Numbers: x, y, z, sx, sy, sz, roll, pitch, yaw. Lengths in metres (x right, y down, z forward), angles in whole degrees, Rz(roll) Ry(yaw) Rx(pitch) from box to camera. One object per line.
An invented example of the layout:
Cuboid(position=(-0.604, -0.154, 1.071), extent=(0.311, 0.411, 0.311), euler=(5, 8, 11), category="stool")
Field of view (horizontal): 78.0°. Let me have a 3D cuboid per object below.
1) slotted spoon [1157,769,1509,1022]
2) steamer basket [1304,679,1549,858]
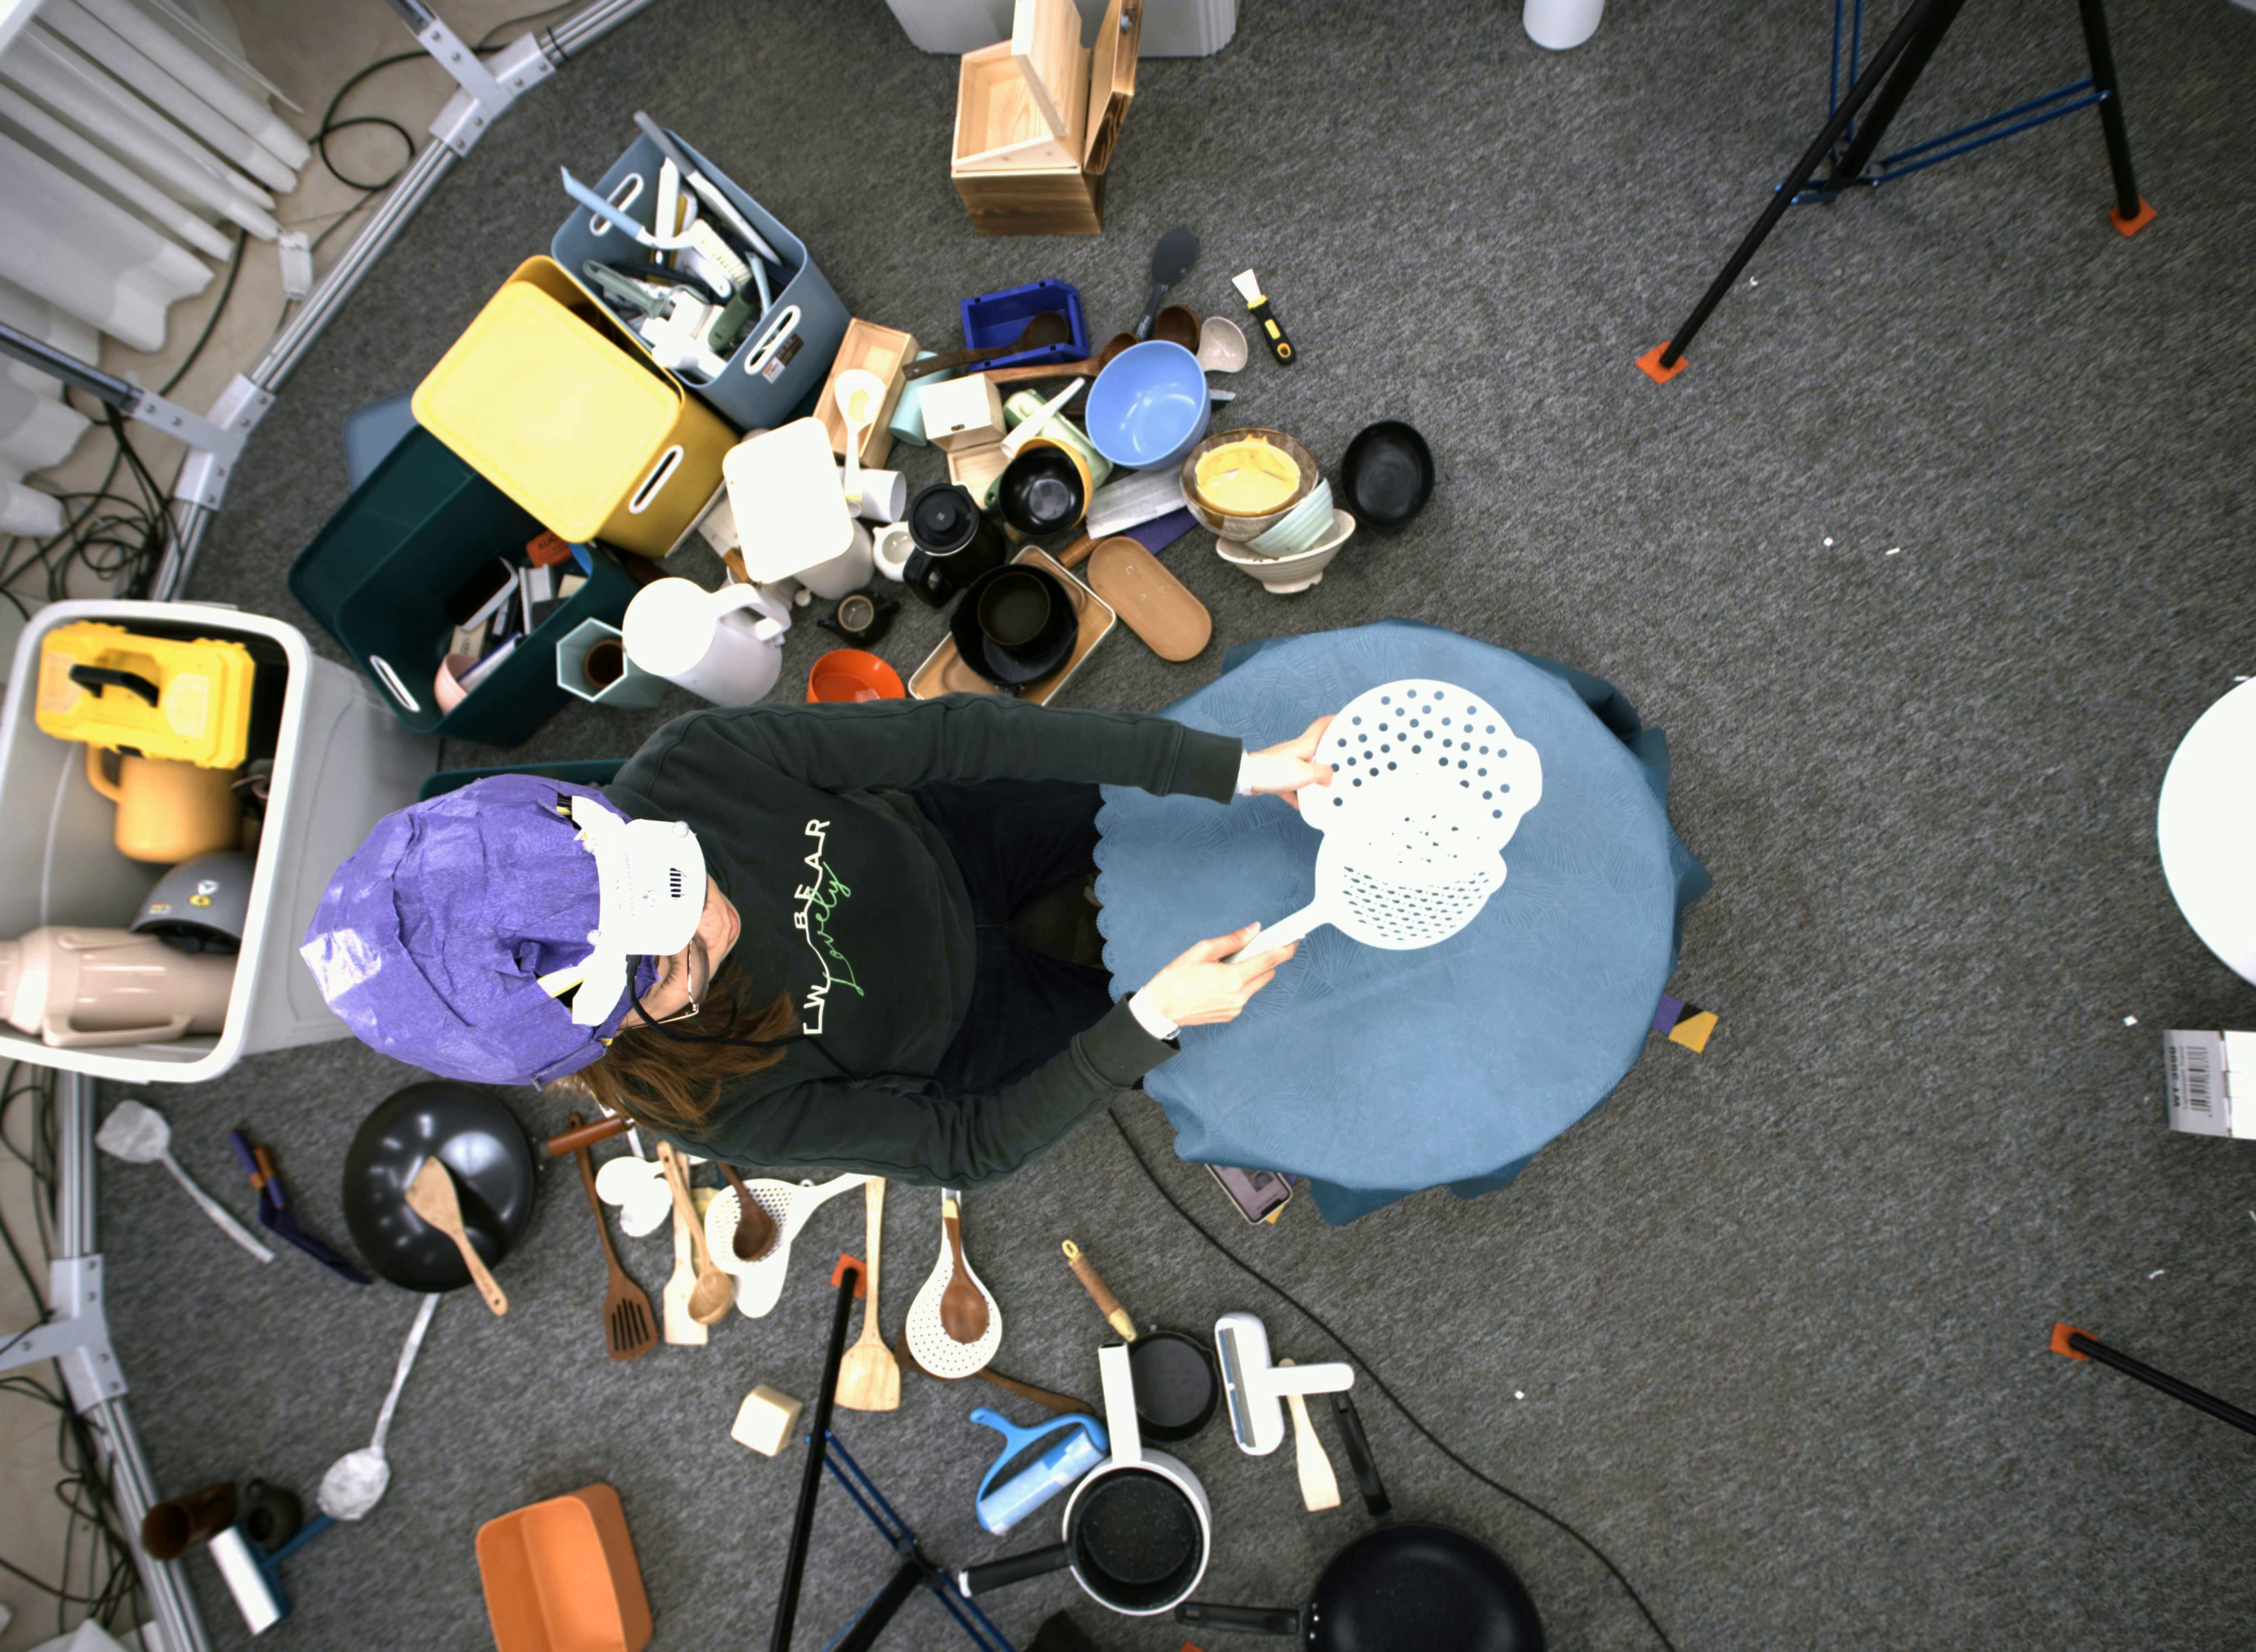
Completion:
Cuboid(position=(0.177, 0.085, 1.274), extent=(0.361, 0.076, 0.166), euler=(-27, 54, 7), category="slotted spoon")
Cuboid(position=(0.290, -0.044, 1.341), extent=(0.232, 0.068, 0.203), euler=(-5, 98, 15), category="steamer basket")
